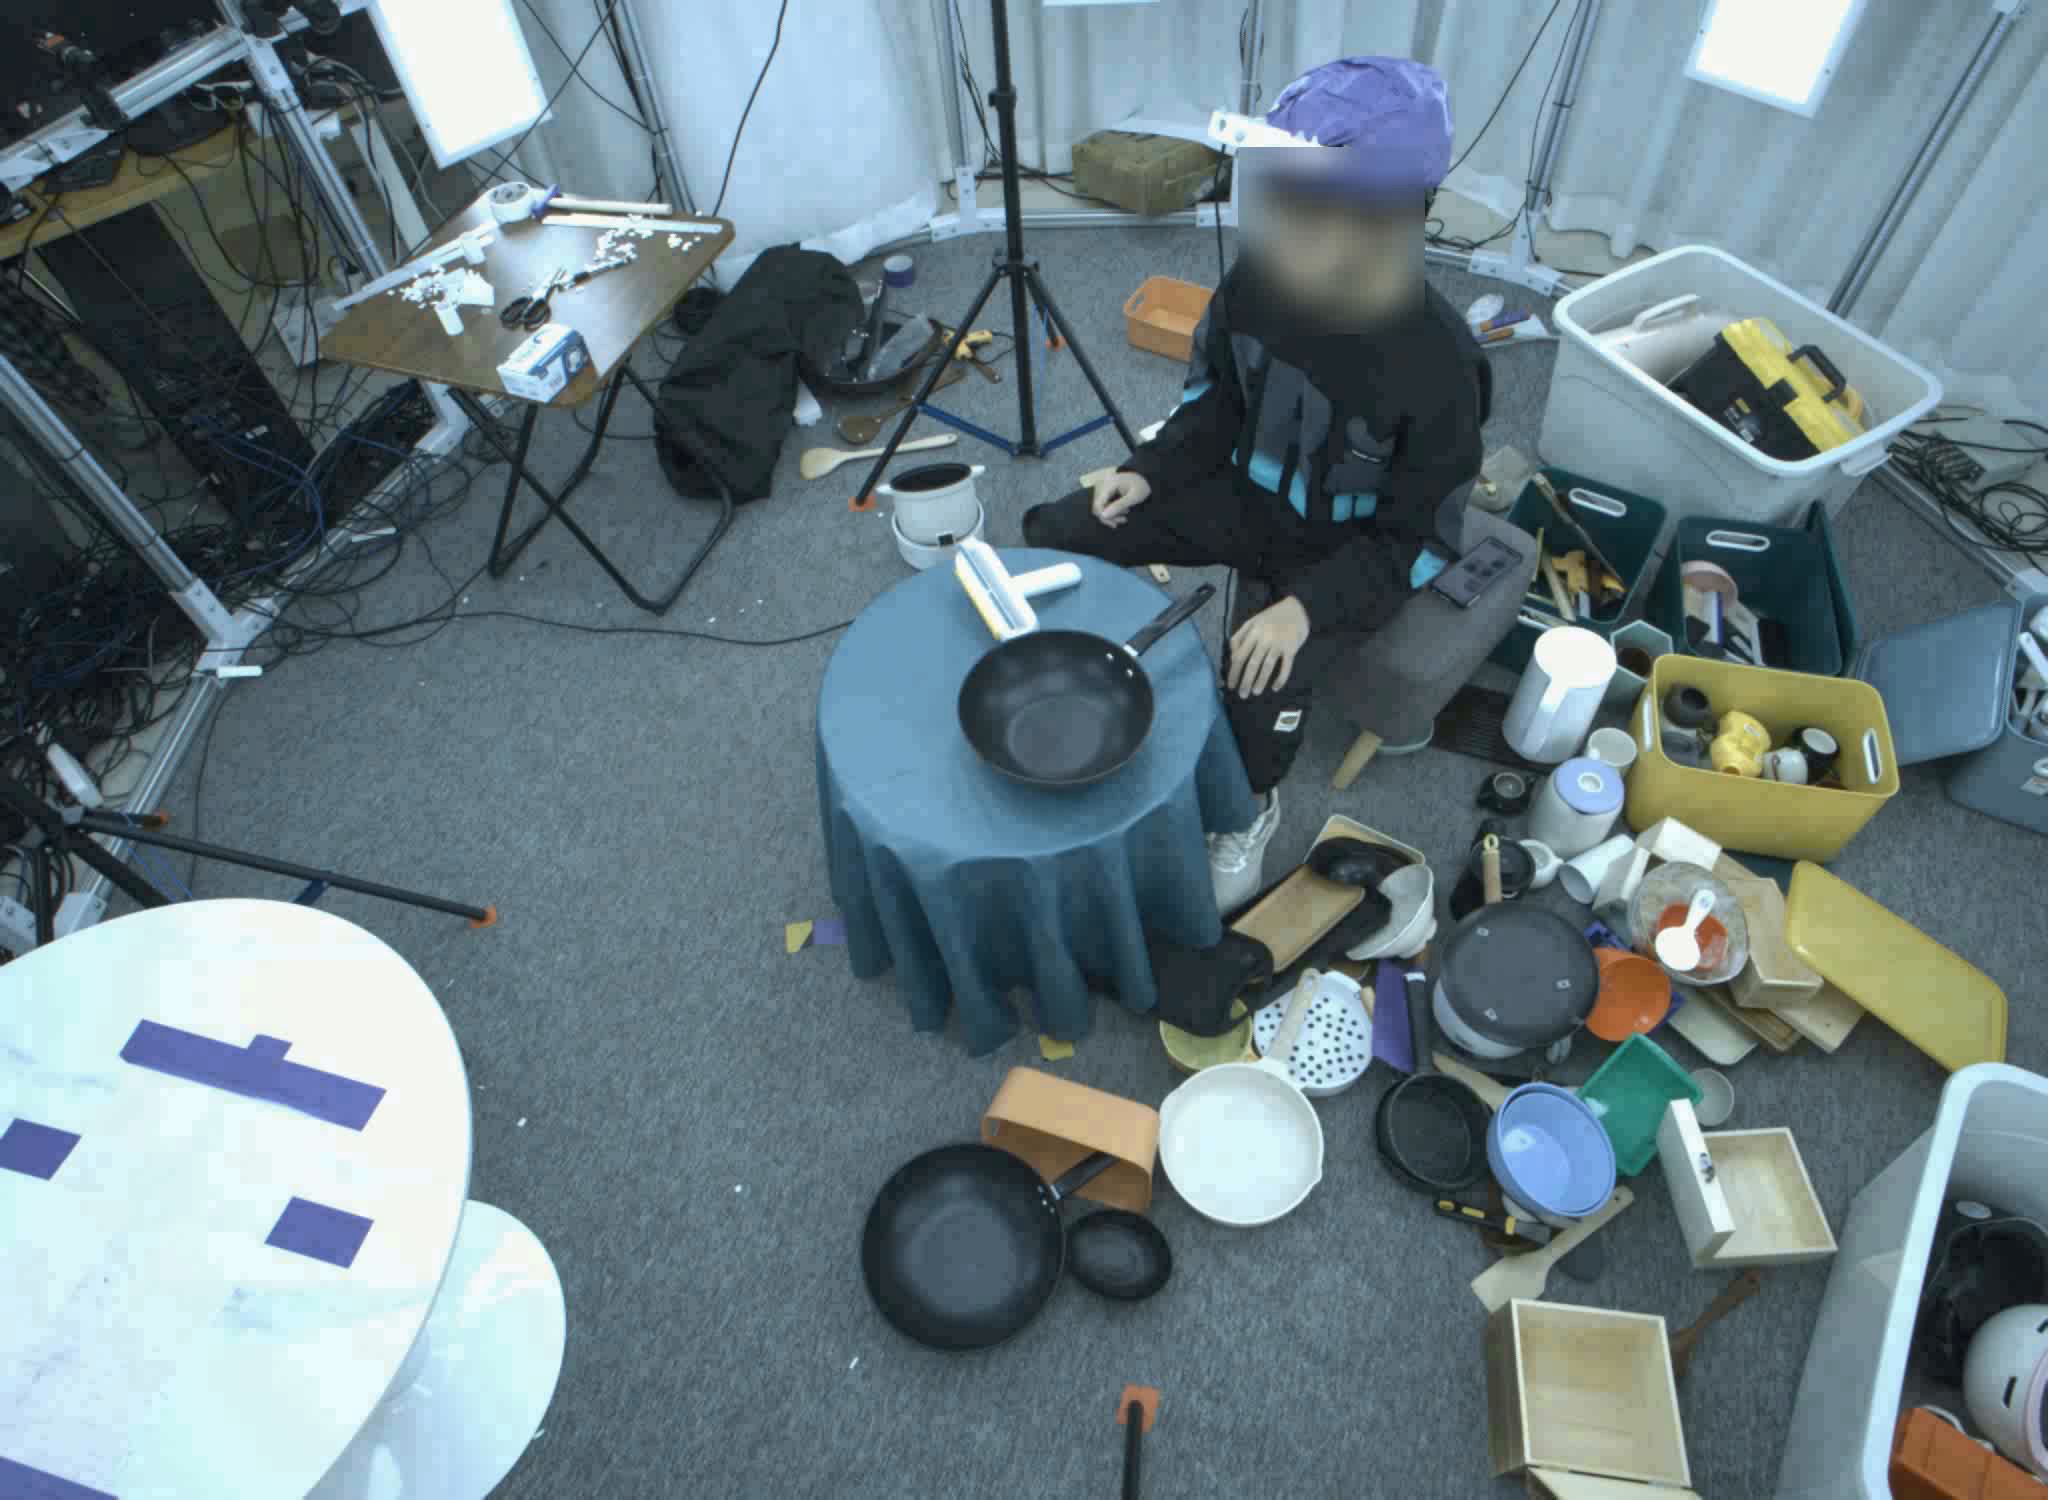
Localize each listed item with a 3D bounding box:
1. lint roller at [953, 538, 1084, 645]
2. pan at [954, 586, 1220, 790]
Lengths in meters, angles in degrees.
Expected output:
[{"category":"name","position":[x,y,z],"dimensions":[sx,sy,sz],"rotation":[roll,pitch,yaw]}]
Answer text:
[{"category":"lint roller","position":[0.006,-0.264,1.928],"dimensions":[0.194,0.075,0.190],"rotation":[-22,62,-15]},{"category":"pan","position":[0.112,-0.097,1.796],"dimensions":[0.467,0.088,0.283],"rotation":[-37,61,-22]}]
